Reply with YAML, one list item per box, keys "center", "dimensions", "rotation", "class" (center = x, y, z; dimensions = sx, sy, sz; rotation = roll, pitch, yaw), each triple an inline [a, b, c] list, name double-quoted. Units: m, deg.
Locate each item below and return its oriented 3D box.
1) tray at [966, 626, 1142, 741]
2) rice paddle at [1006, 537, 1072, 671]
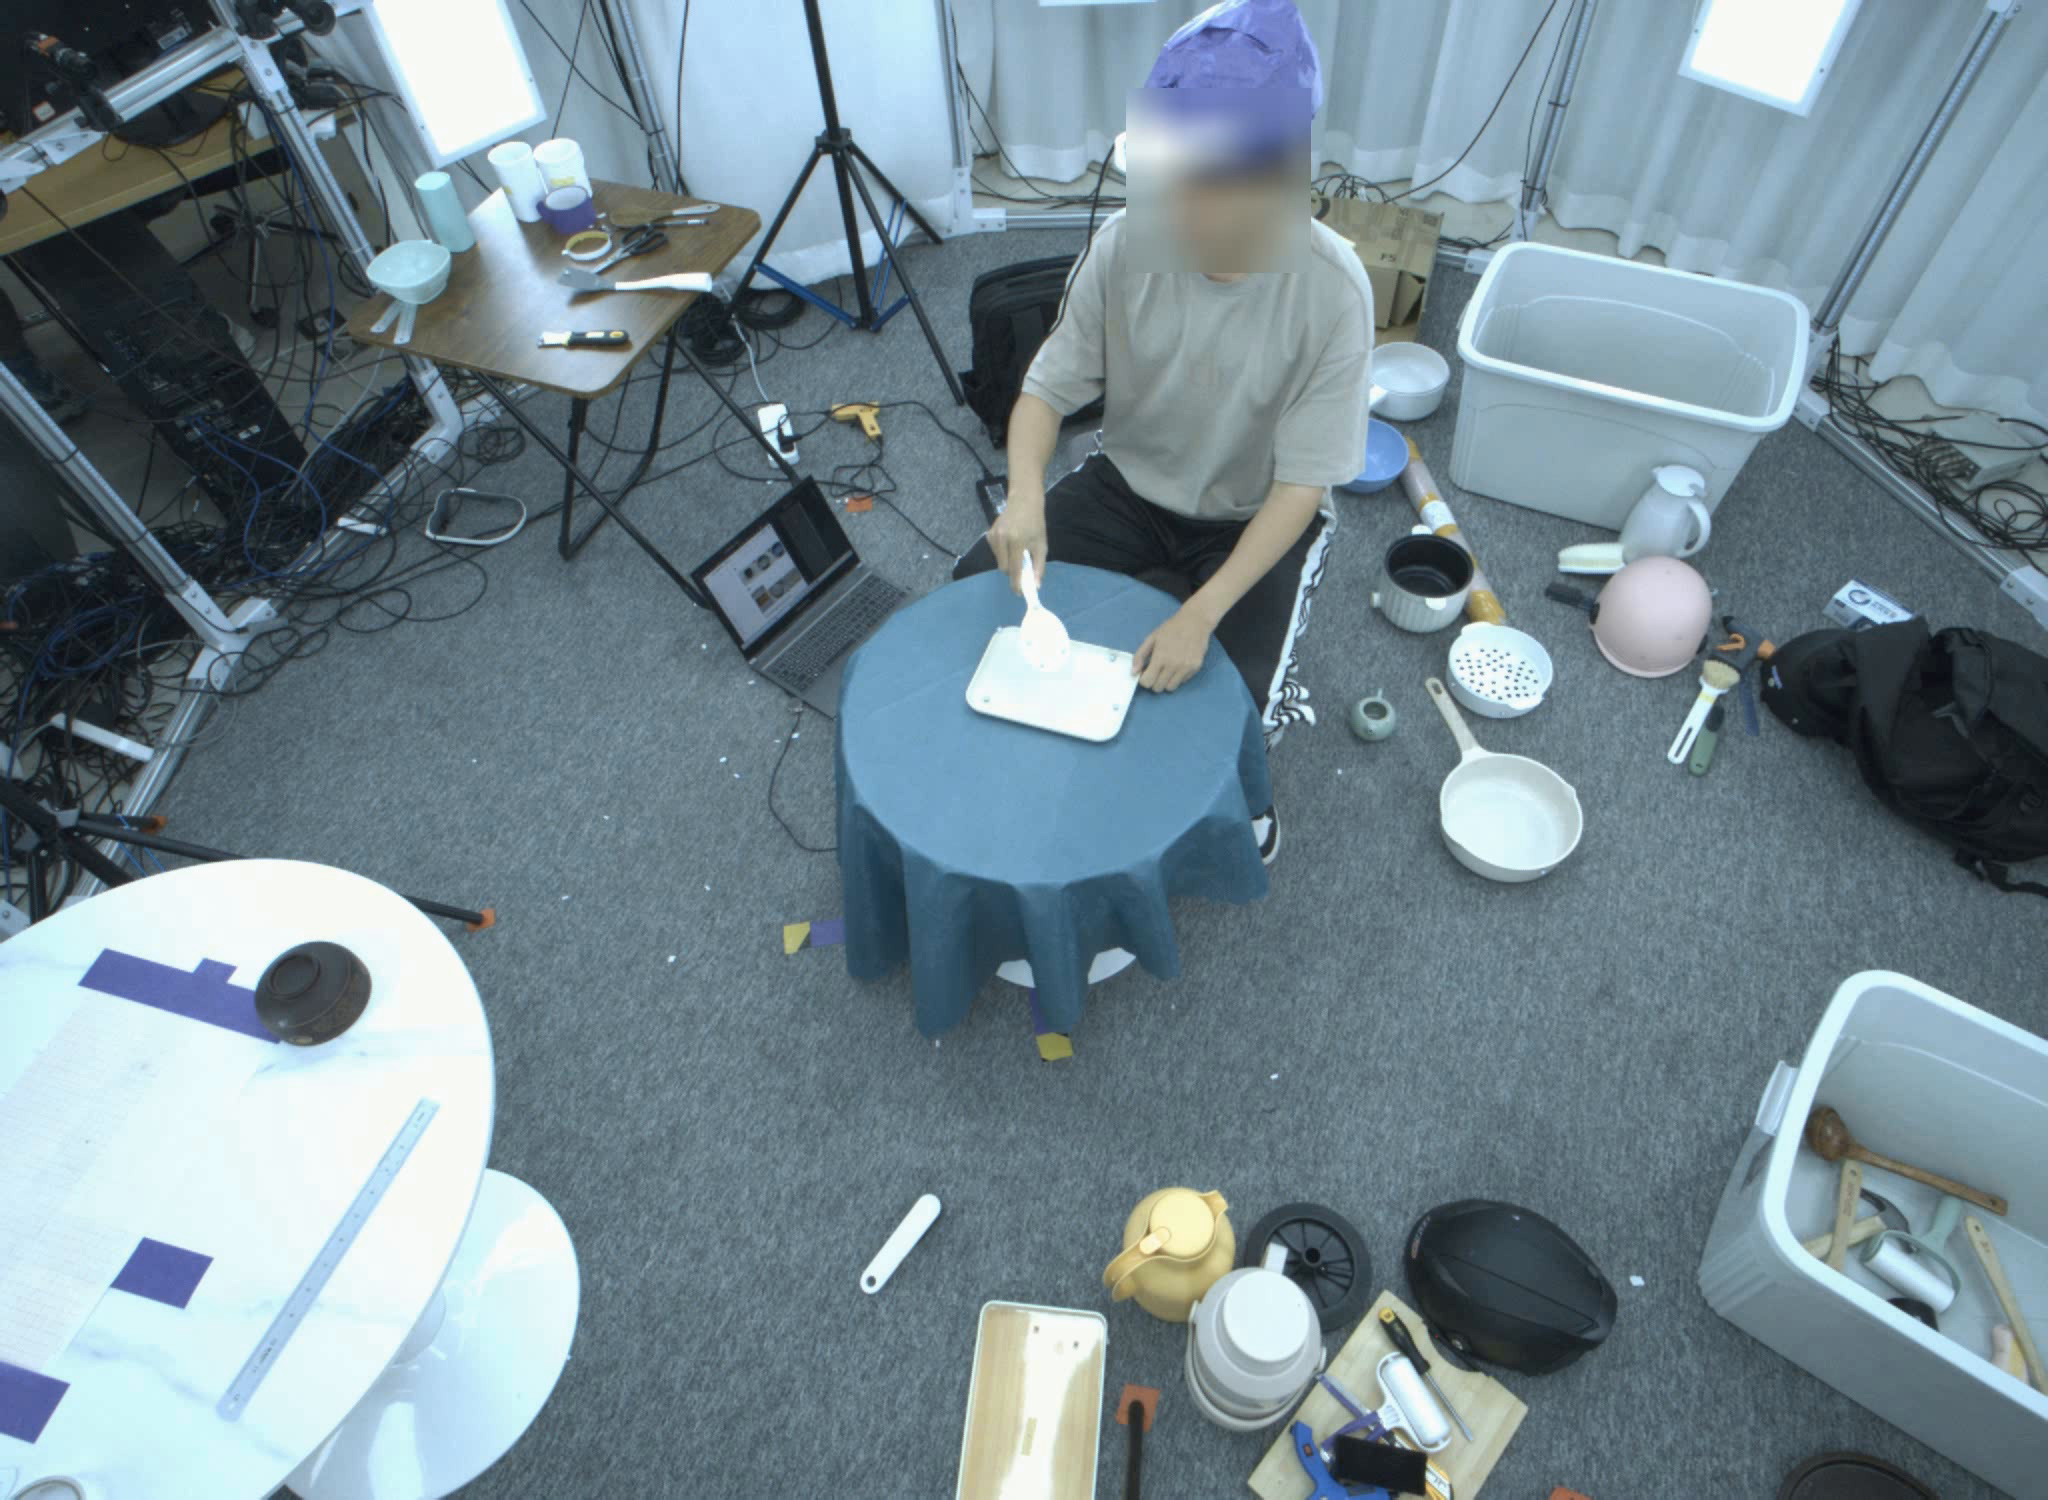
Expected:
- center: [0.045, -0.100, 1.843]
  dimensions: [0.237, 0.017, 0.171]
  rotation: [15, 57, 12]
  class: "tray"
- center: [0.017, -0.211, 1.785]
  dimensions: [0.069, 0.029, 0.204]
  rotation: [-16, 81, -3]
  class: "rice paddle"
